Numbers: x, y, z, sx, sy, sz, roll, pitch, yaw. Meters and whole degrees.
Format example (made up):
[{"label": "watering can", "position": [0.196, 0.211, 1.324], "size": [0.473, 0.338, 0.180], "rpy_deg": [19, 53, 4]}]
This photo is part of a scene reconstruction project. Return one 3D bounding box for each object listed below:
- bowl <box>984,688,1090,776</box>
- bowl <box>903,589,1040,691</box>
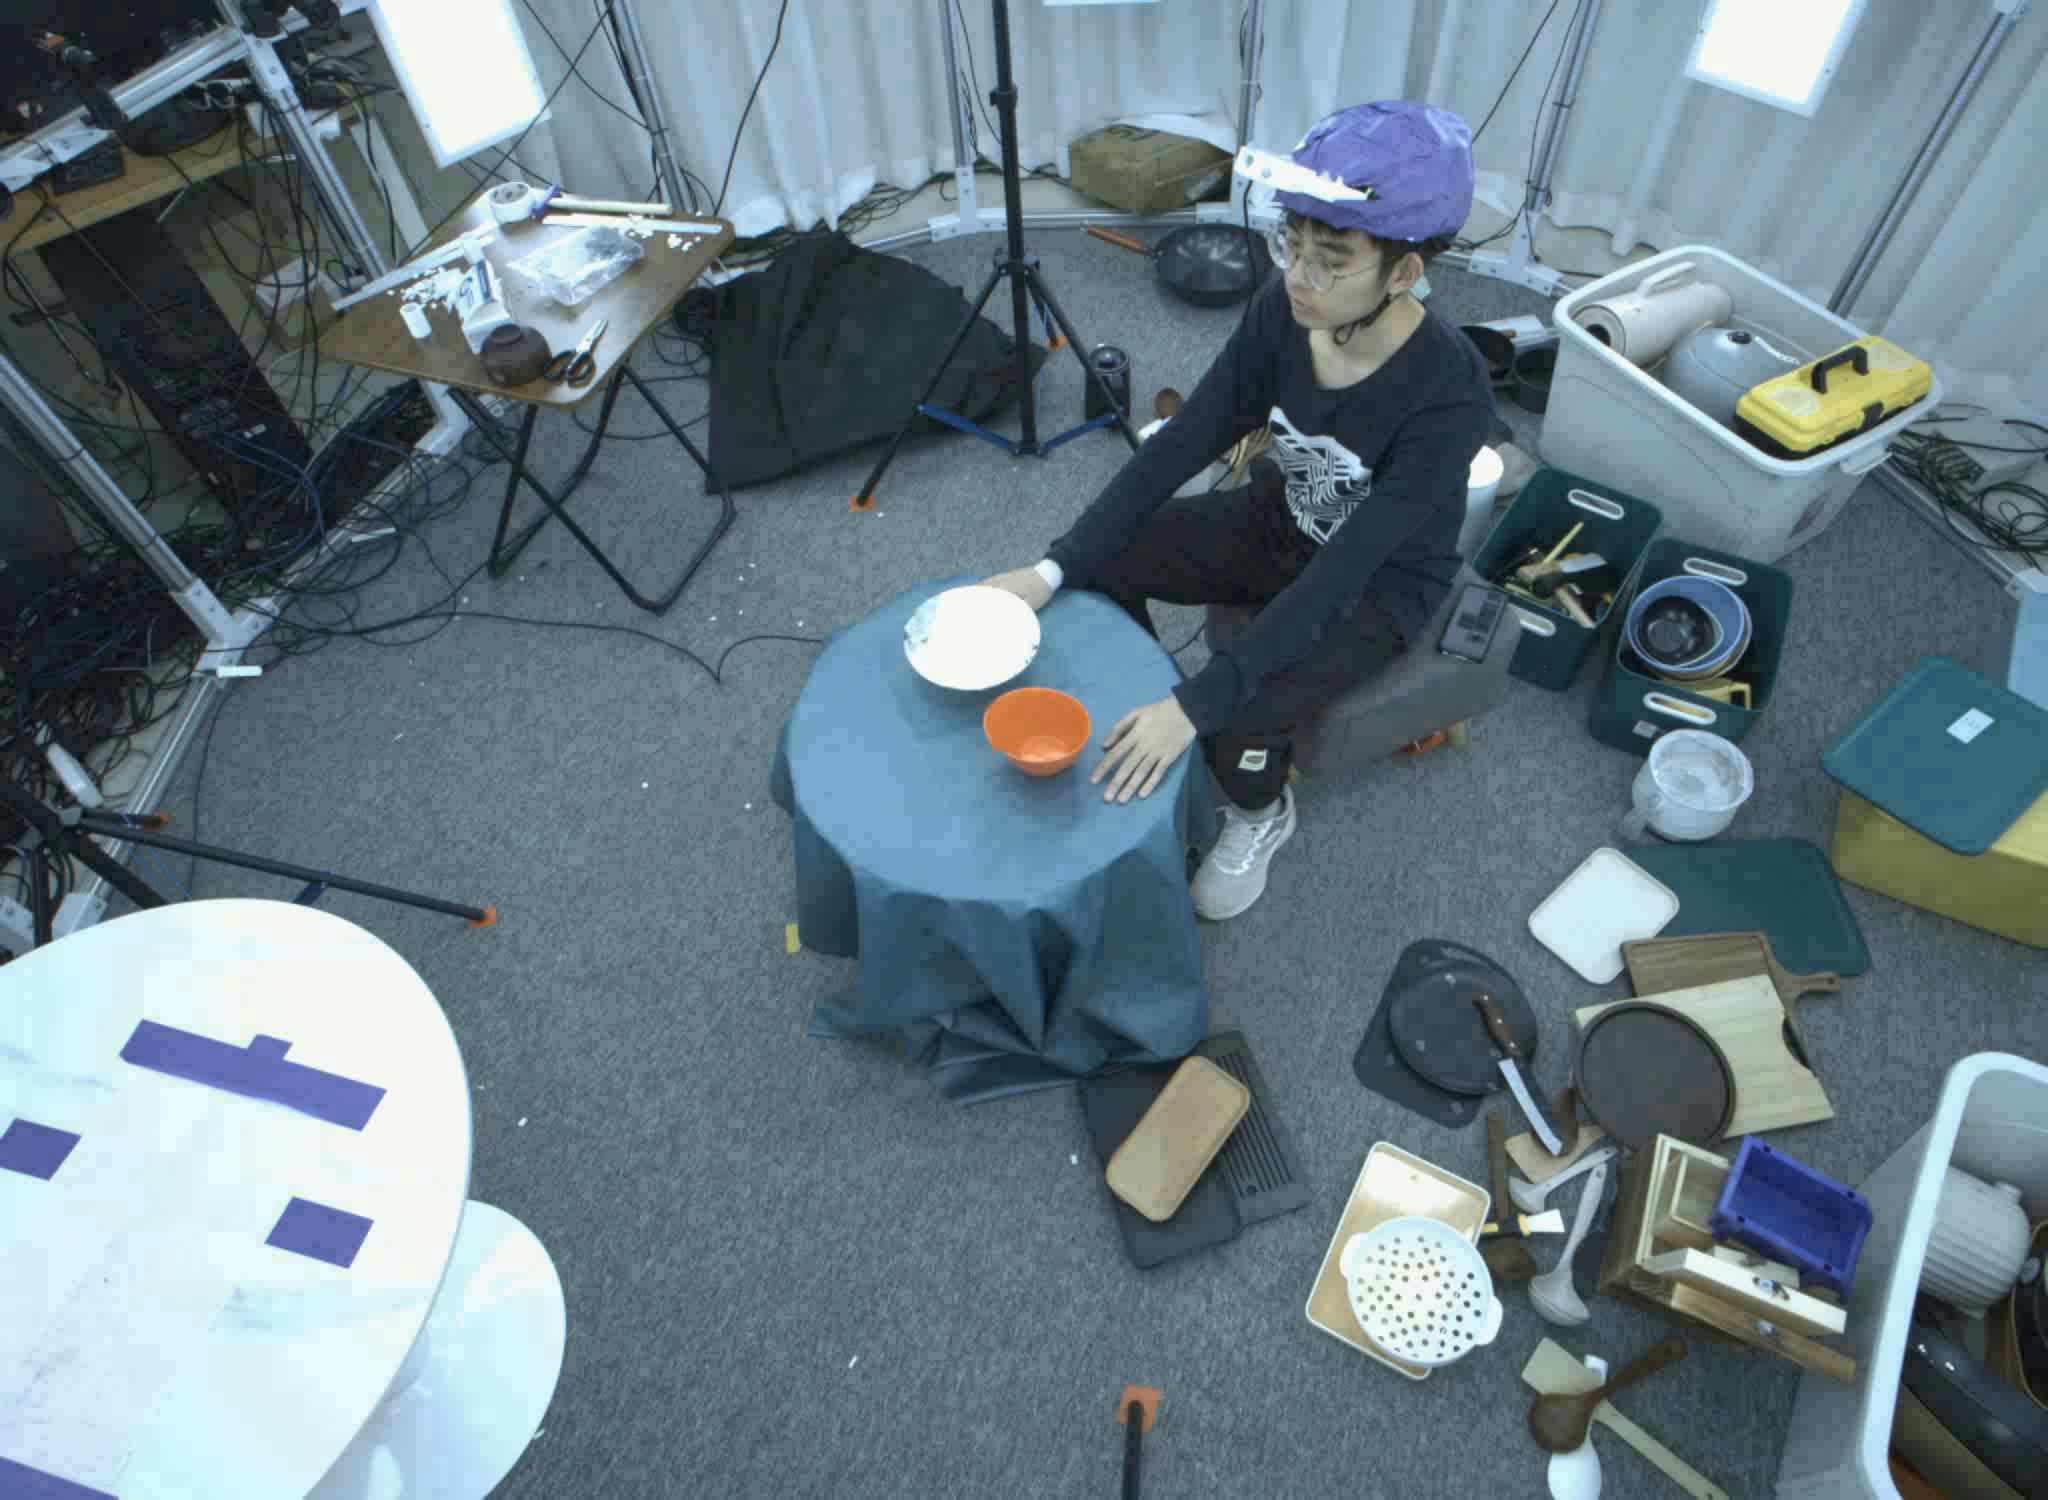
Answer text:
[{"label": "bowl", "position": [0.019, -0.012, 1.742], "size": [0.148, 0.106, 0.146], "rpy_deg": [0, 53, 1]}, {"label": "bowl", "position": [-0.080, -0.146, 1.860], "size": [0.204, 0.078, 0.202], "rpy_deg": [3, 53, -3]}]
